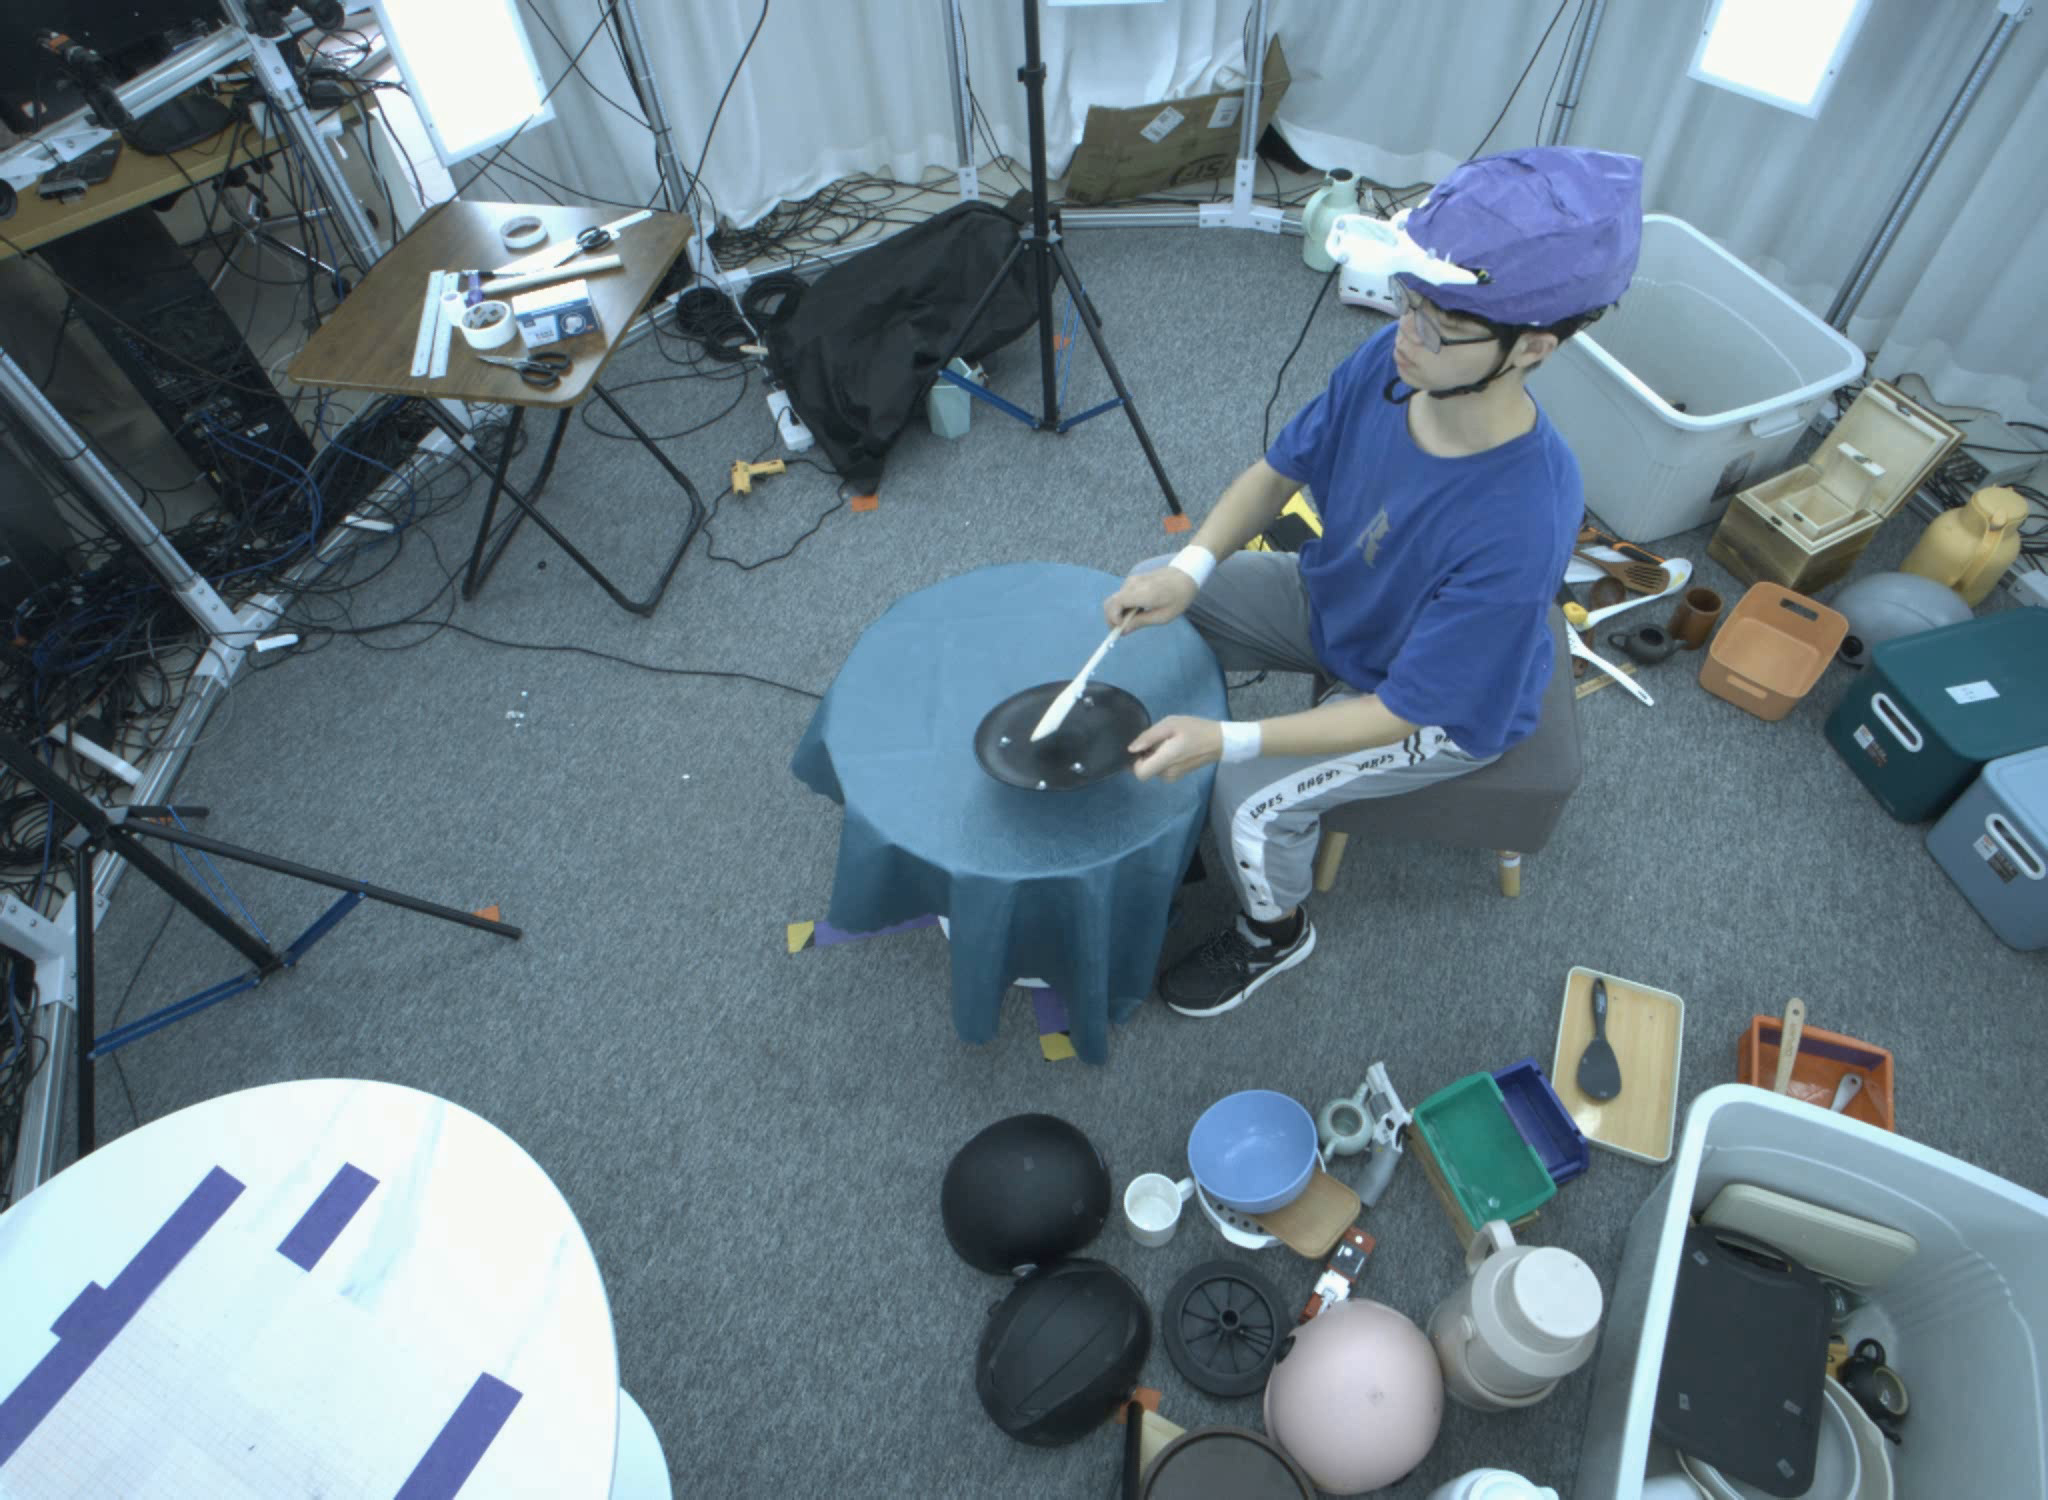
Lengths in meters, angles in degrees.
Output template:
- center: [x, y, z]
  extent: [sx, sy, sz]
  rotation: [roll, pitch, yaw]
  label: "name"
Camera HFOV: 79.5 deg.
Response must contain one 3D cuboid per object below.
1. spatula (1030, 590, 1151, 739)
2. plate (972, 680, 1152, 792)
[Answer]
- center: [0.100, -0.125, 1.693]
  extent: [0.011, 0.071, 0.294]
  rotation: [45, 60, -14]
  label: "spatula"
- center: [0.051, -0.016, 1.661]
  extent: [0.243, 0.024, 0.242]
  rotation: [-5, 38, 5]
  label: "plate"
